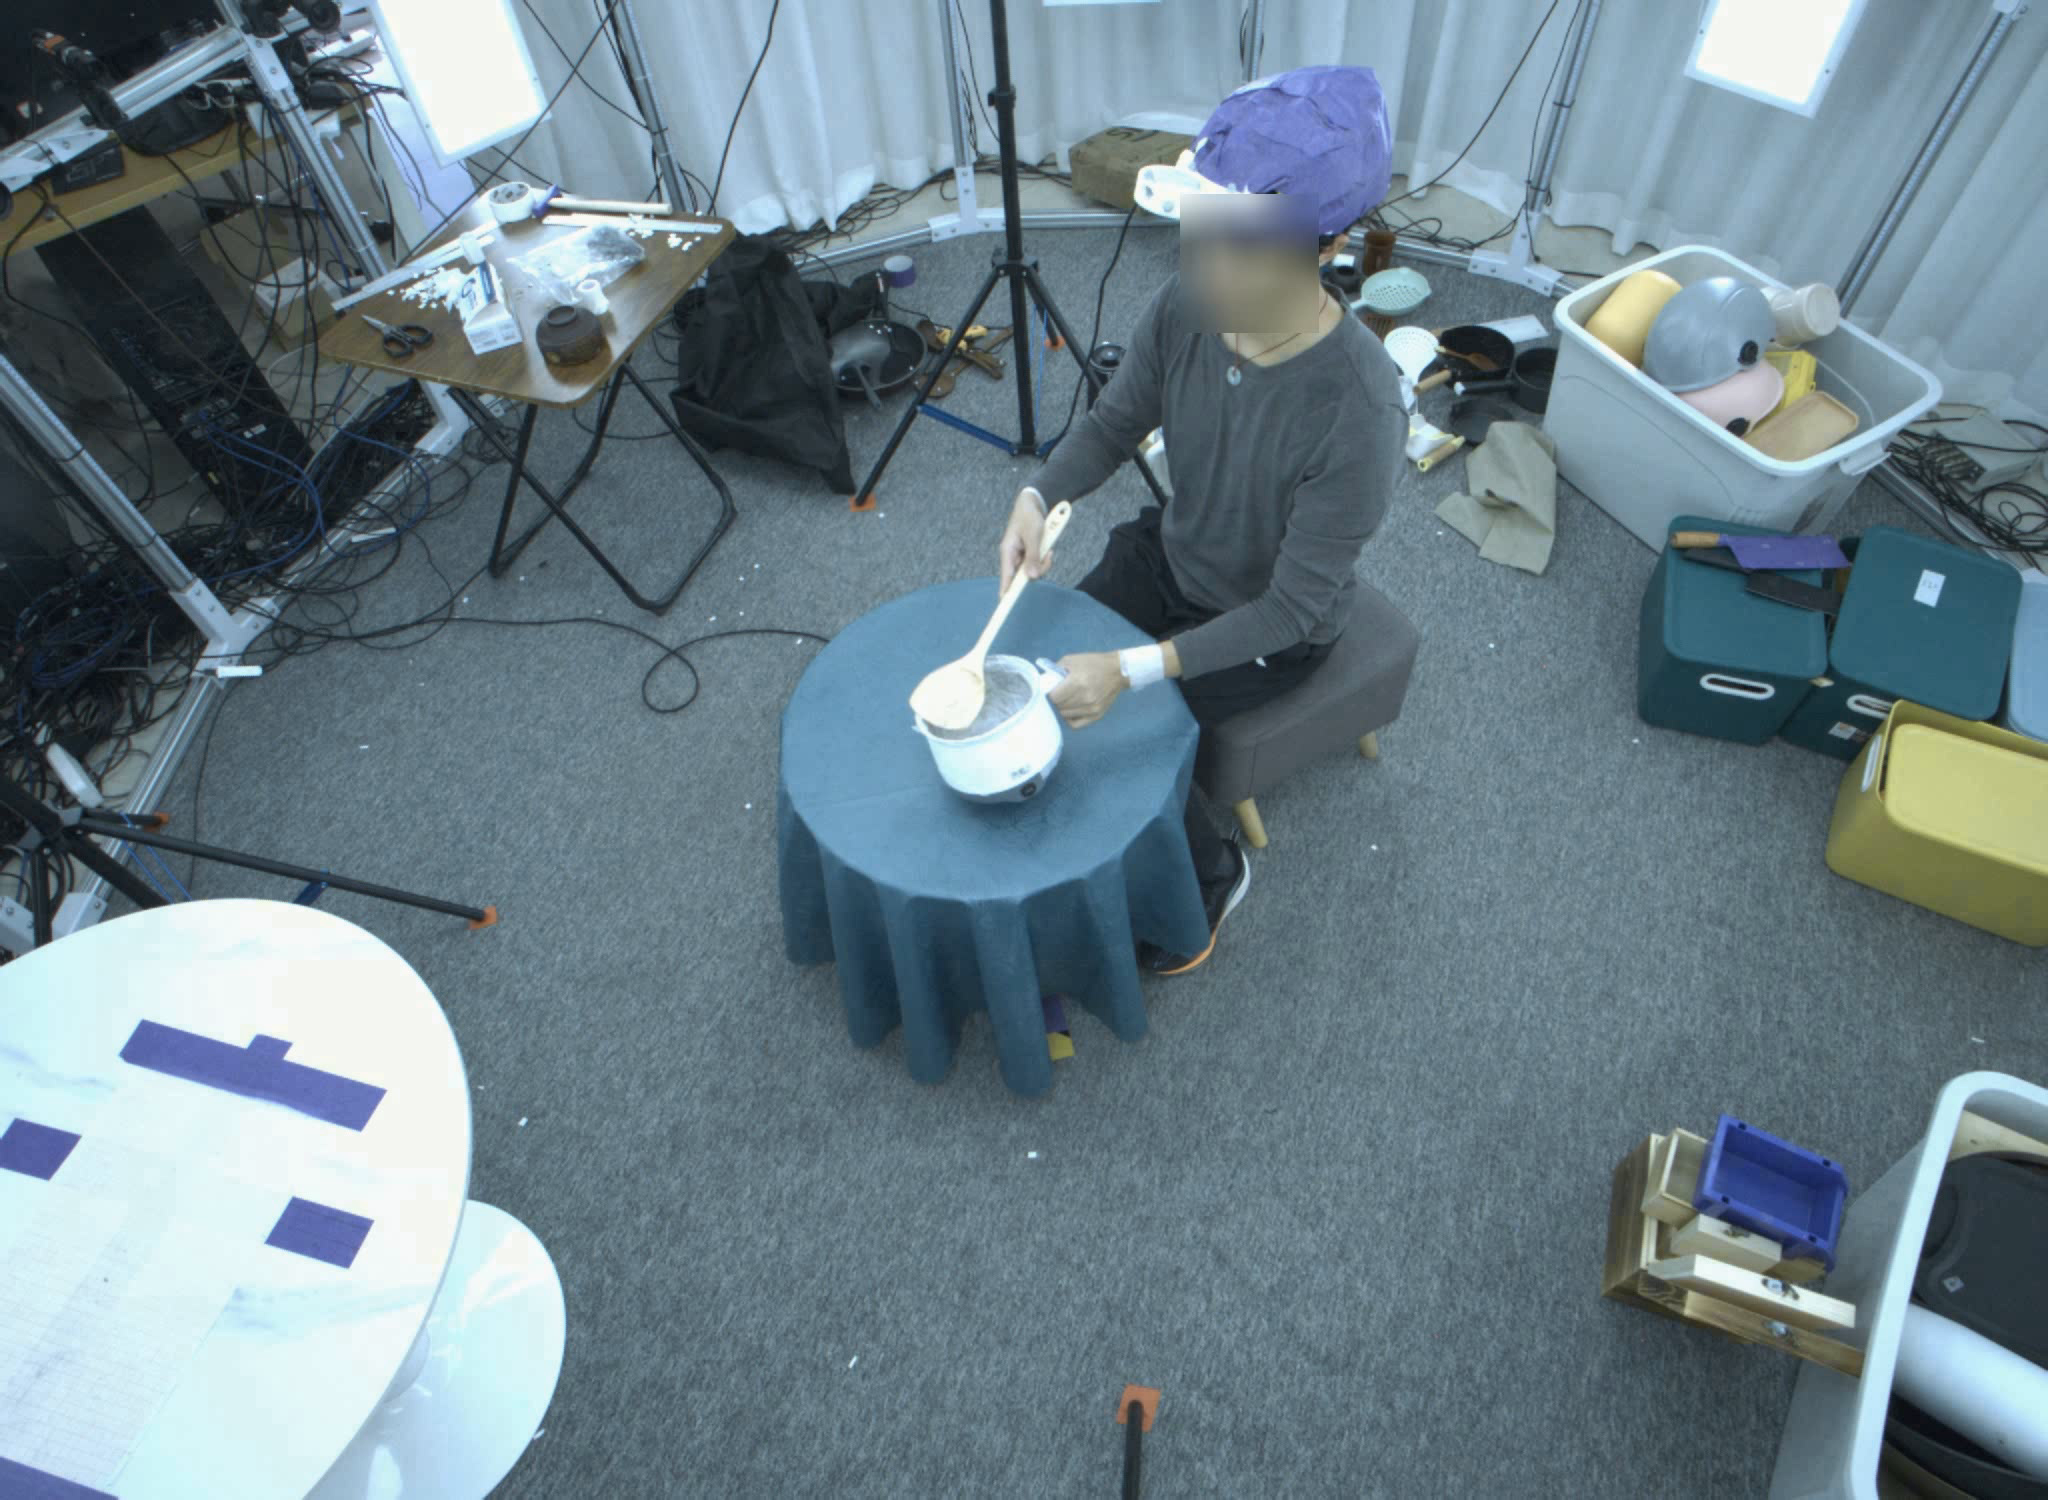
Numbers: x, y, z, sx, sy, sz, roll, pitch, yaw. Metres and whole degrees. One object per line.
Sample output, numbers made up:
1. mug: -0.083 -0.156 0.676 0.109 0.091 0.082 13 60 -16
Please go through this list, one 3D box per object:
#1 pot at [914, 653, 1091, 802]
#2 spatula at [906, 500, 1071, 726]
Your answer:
1. pot: -0.022 -0.041 1.698 0.235 0.139 0.175 -31 42 -10
2. spatula: -0.035 -0.202 1.720 0.095 0.018 0.391 27 74 8
